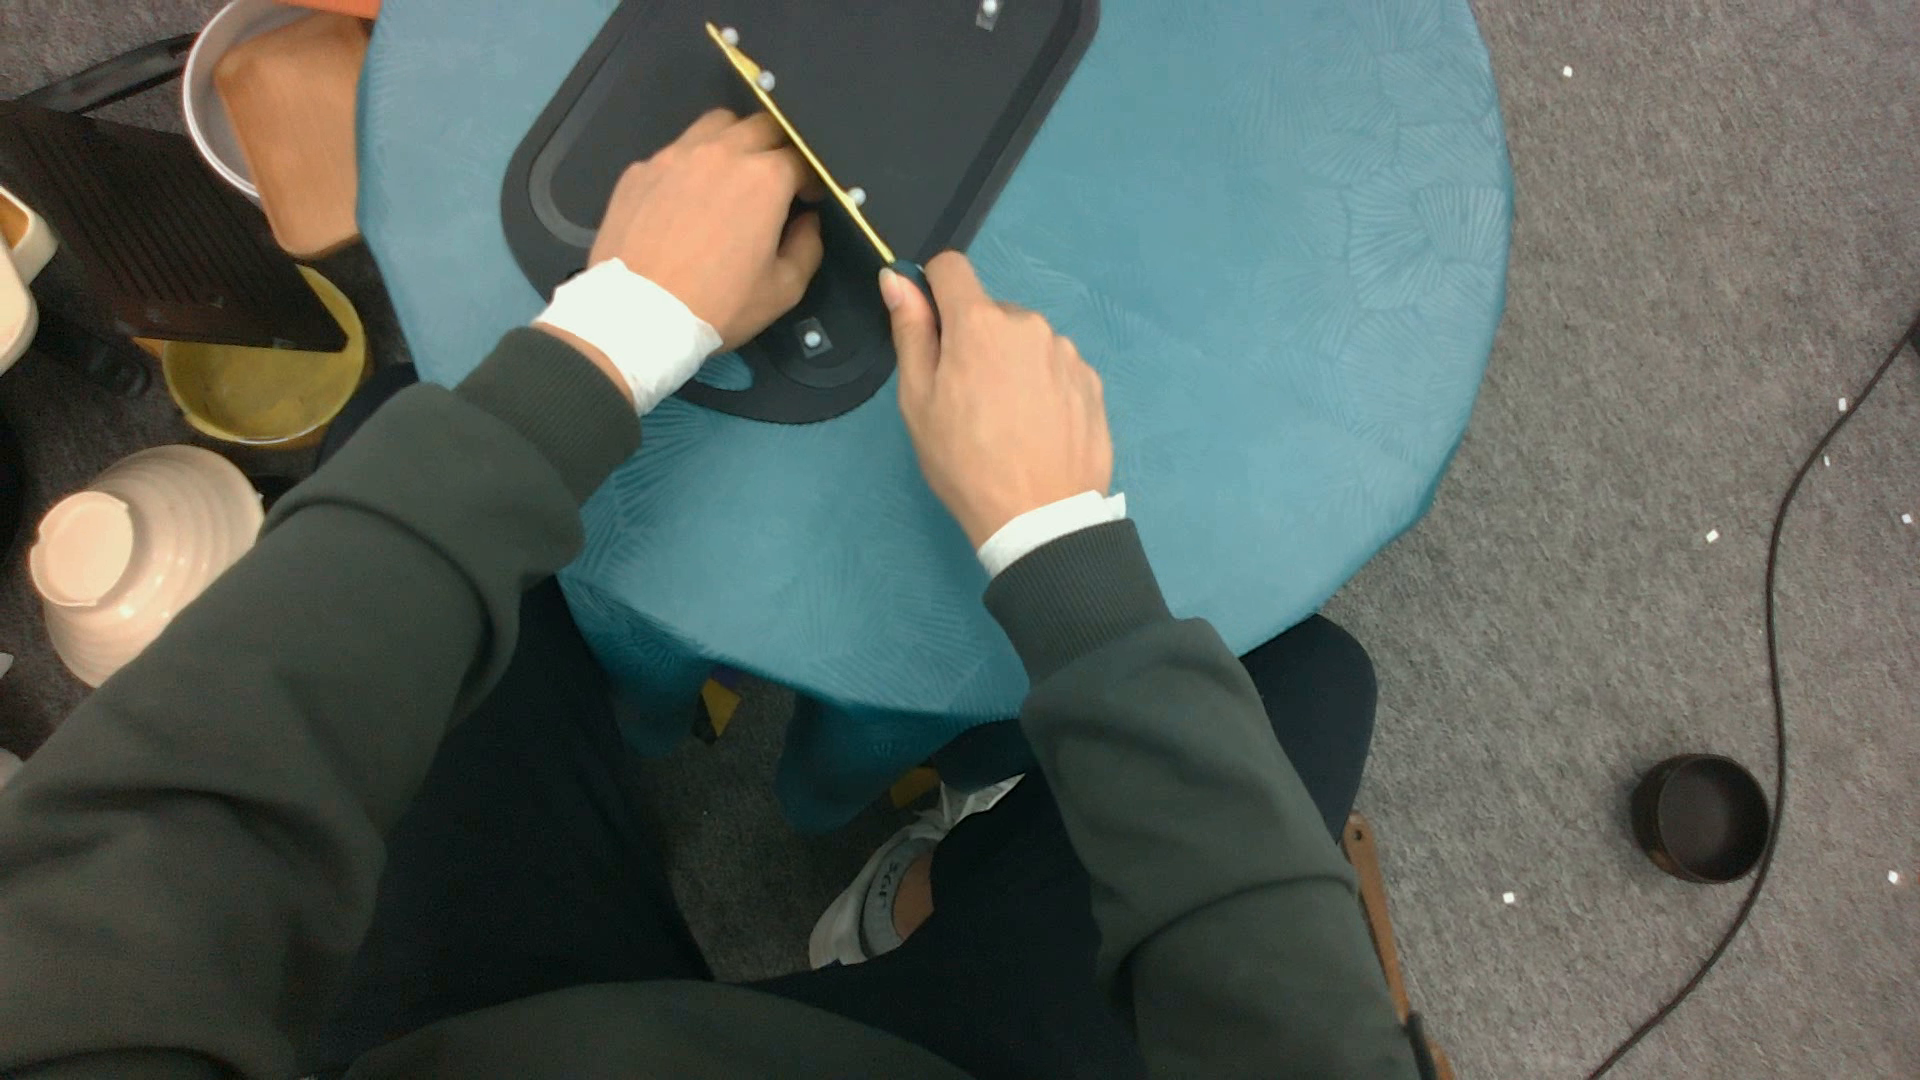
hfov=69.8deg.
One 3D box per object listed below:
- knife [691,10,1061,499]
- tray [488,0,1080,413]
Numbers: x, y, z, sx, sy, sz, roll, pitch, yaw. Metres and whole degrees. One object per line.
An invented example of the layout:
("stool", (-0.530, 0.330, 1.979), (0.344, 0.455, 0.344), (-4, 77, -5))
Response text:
("knife", (-0.043, -0.138, 0.652), (0.027, 0.081, 0.289), (-37, 85, 7))
("tray", (-0.085, -0.222, 0.700), (0.211, 0.010, 0.326), (31, 76, -4))
